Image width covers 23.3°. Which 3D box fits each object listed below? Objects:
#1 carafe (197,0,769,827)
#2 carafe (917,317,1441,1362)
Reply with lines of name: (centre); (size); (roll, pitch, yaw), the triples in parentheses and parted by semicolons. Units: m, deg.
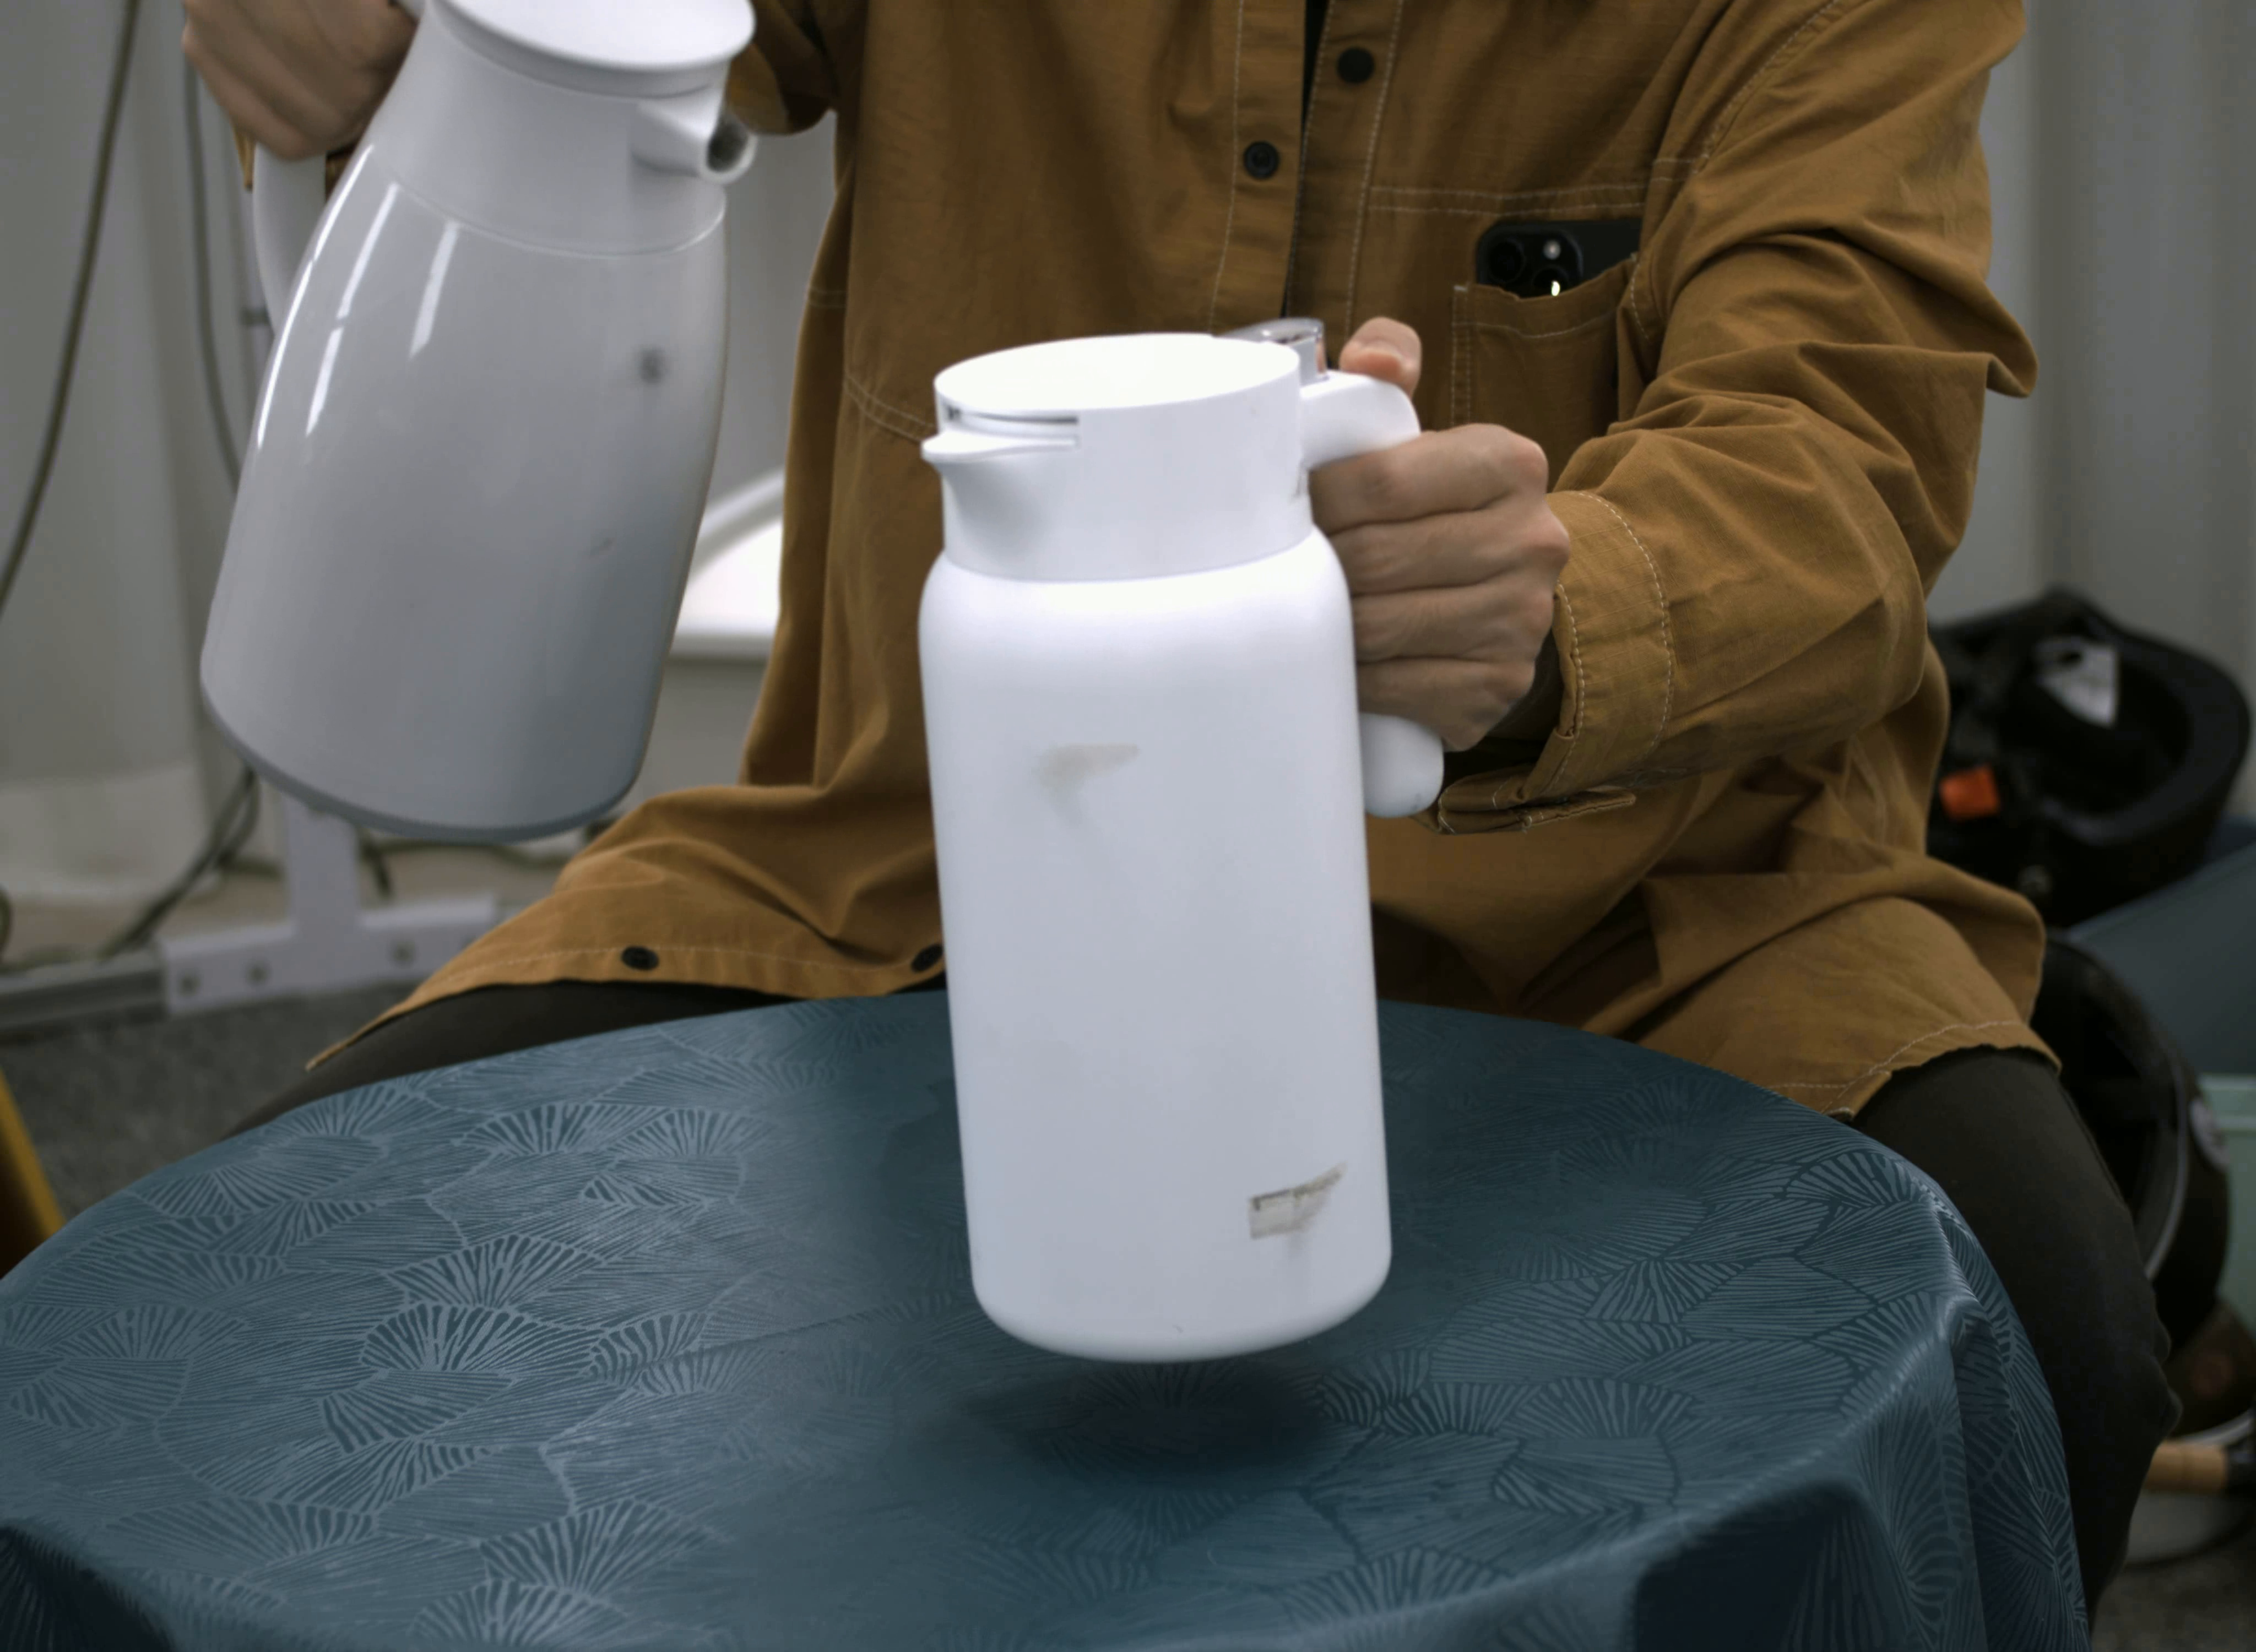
carafe: (-0.188, -0.147, 1.548); (0.169, 0.246, 0.132); (36, 35, 28)
carafe: (0.017, -0.001, 1.498); (0.172, 0.268, 0.124); (-17, 17, -42)
